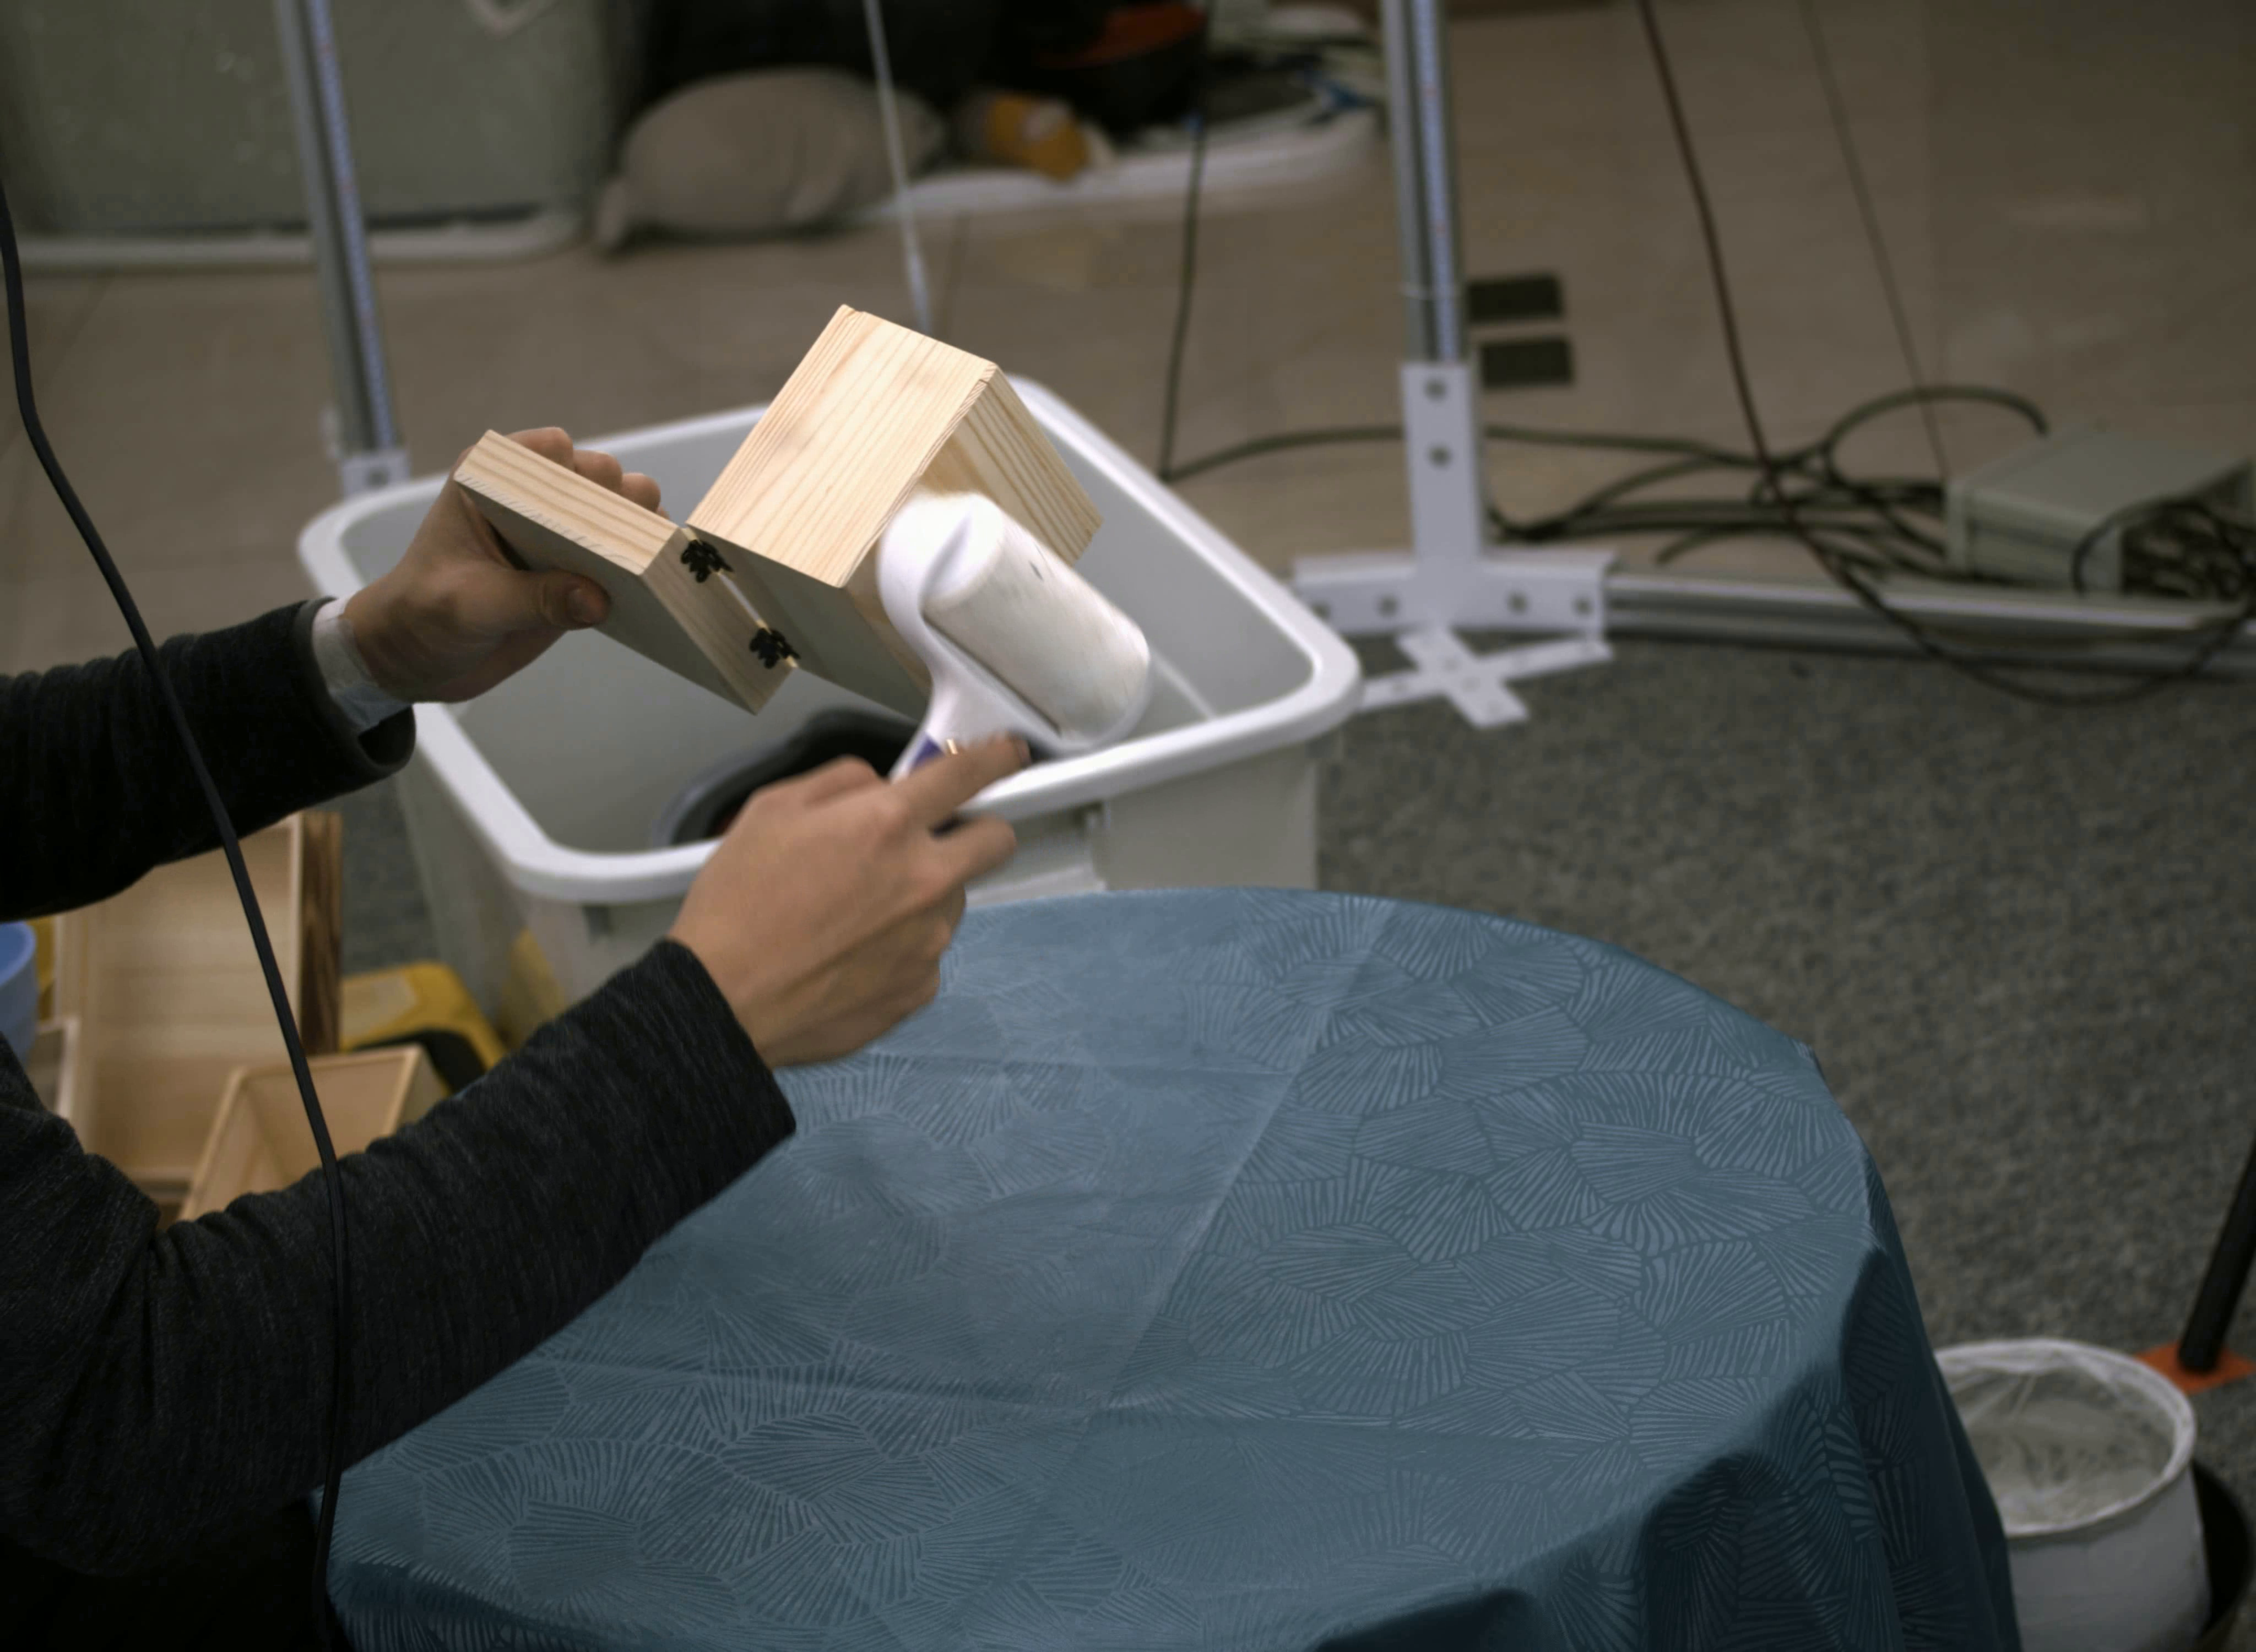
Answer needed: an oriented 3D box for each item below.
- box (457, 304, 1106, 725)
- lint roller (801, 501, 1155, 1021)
[{"bbox_3d":[-0.126,-0.121,2.063,0.183,0.104,0.133,24,74,34],"label":"box"},{"bbox_3d":[-0.061,-0.013,1.961,0.050,0.134,0.179,11,70,37],"label":"lint roller"}]
